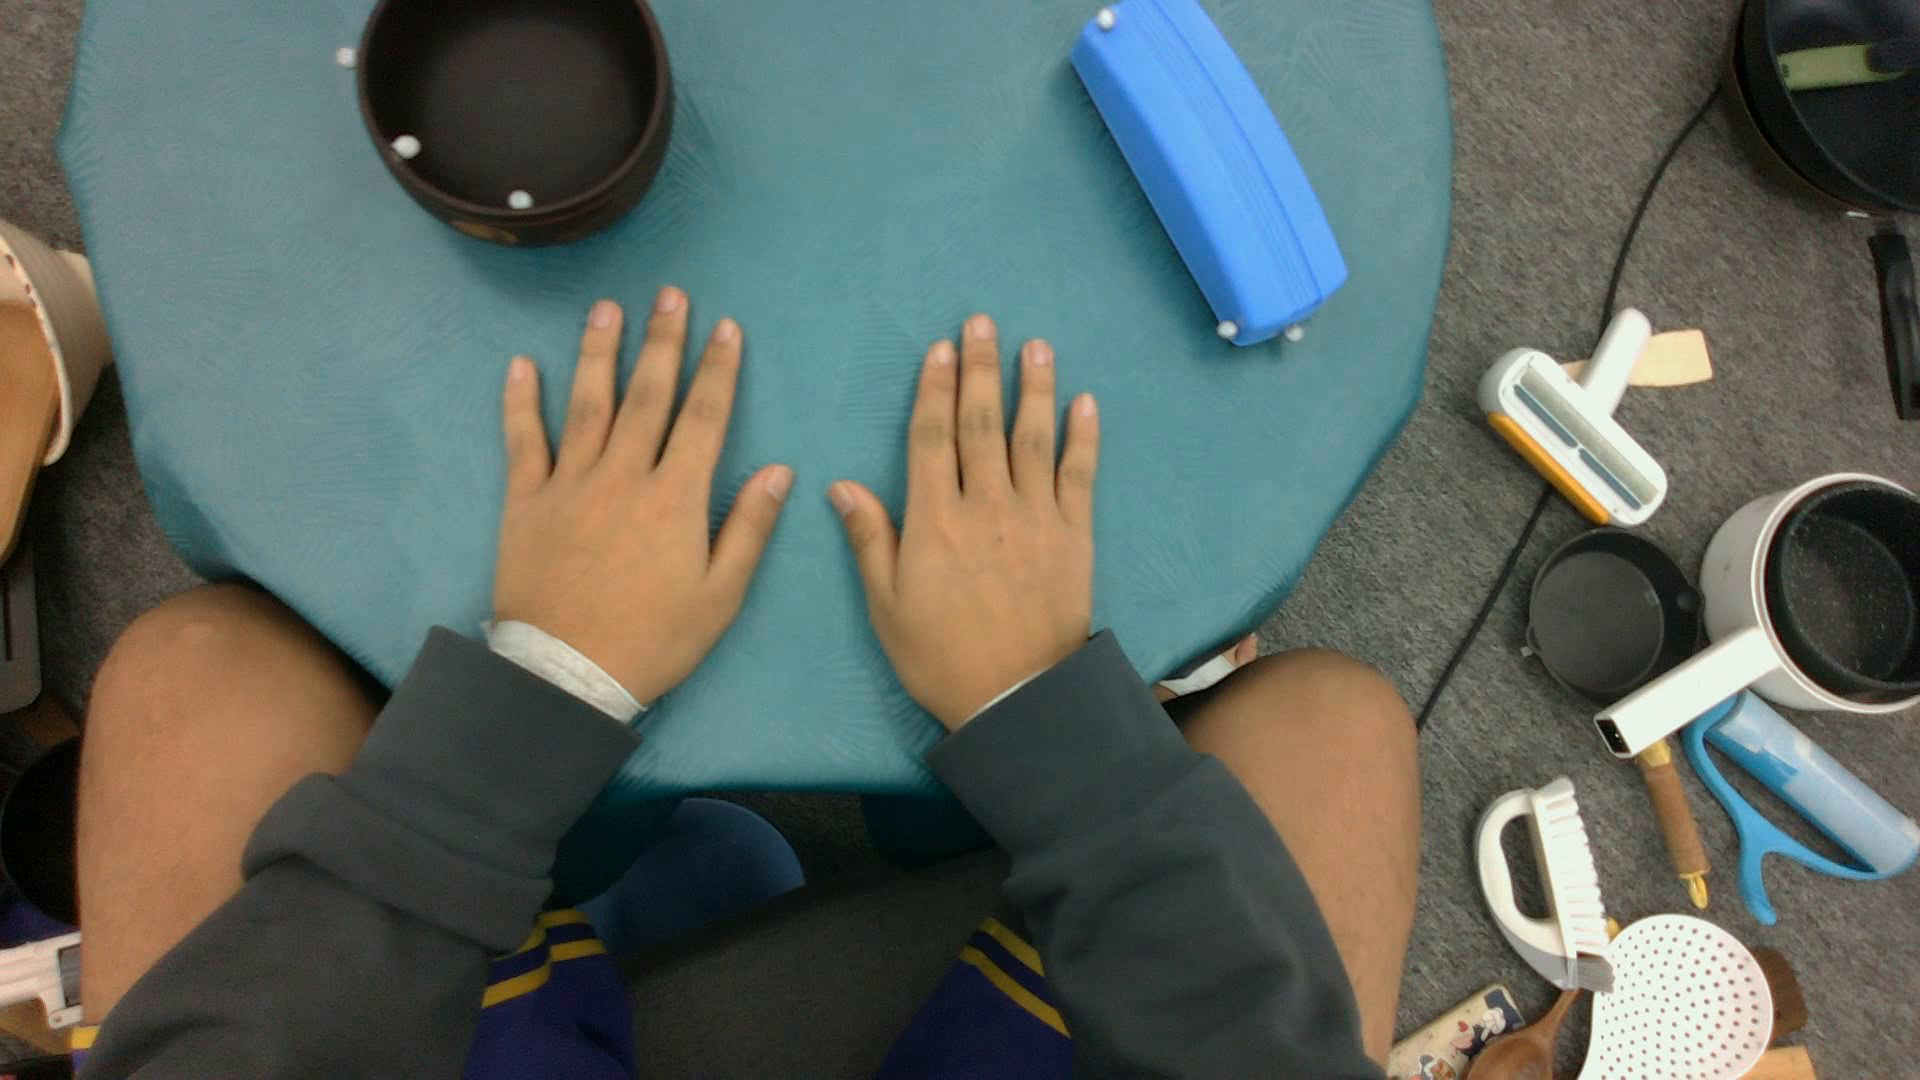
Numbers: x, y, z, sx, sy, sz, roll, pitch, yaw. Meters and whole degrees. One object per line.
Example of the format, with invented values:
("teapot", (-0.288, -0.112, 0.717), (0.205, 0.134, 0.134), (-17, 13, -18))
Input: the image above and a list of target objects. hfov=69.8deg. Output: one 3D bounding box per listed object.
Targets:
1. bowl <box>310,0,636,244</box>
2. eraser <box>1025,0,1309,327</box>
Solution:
("bowl", (-0.189, -0.174, 0.550), (0.118, 0.070, 0.118), (1, 83, -9))
("eraser", (0.092, -0.175, 0.607), (0.054, 0.047, 0.162), (-31, 87, -14))
